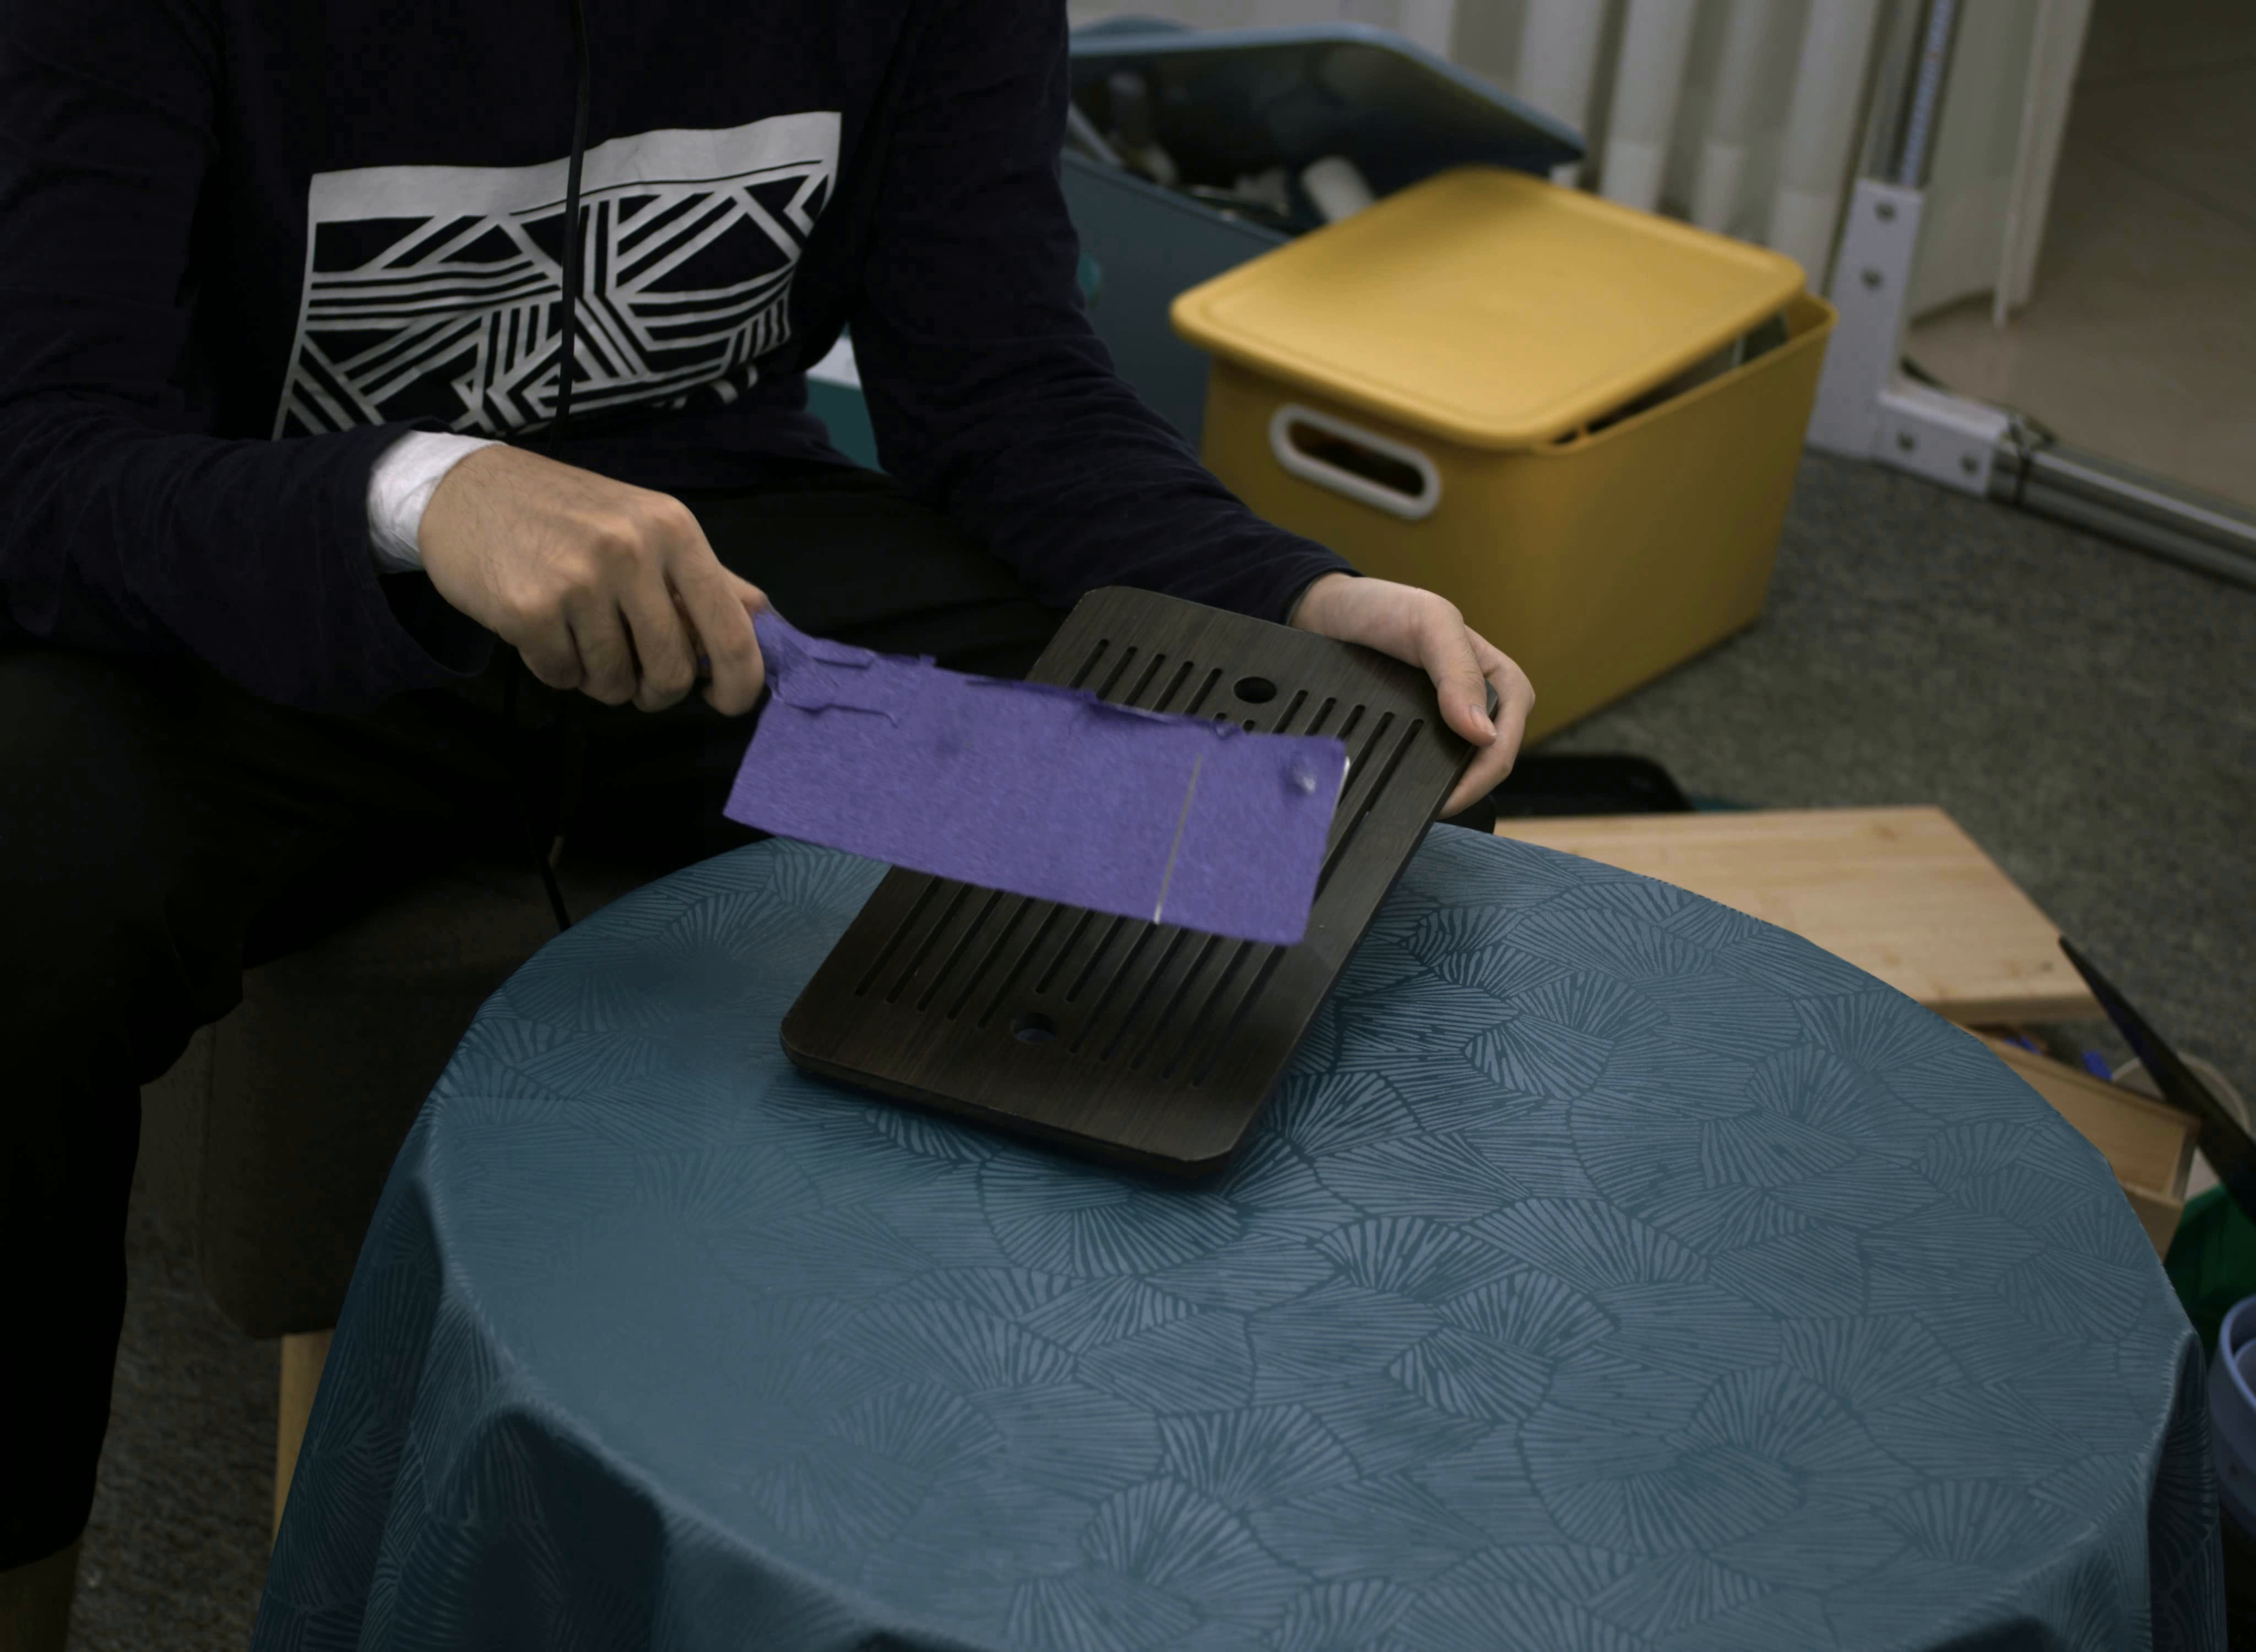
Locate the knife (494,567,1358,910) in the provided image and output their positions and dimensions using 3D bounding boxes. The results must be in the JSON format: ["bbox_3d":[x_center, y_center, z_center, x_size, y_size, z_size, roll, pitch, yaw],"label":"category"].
[{"bbox_3d":[-0.081,-0.031,1.867,0.315,0.032,0.104,10,50,11],"label":"knife"}]

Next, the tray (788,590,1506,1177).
[{"bbox_3d":[0.012,0.017,1.935,0.170,0.018,0.306,14,39,17],"label":"tray"}]
